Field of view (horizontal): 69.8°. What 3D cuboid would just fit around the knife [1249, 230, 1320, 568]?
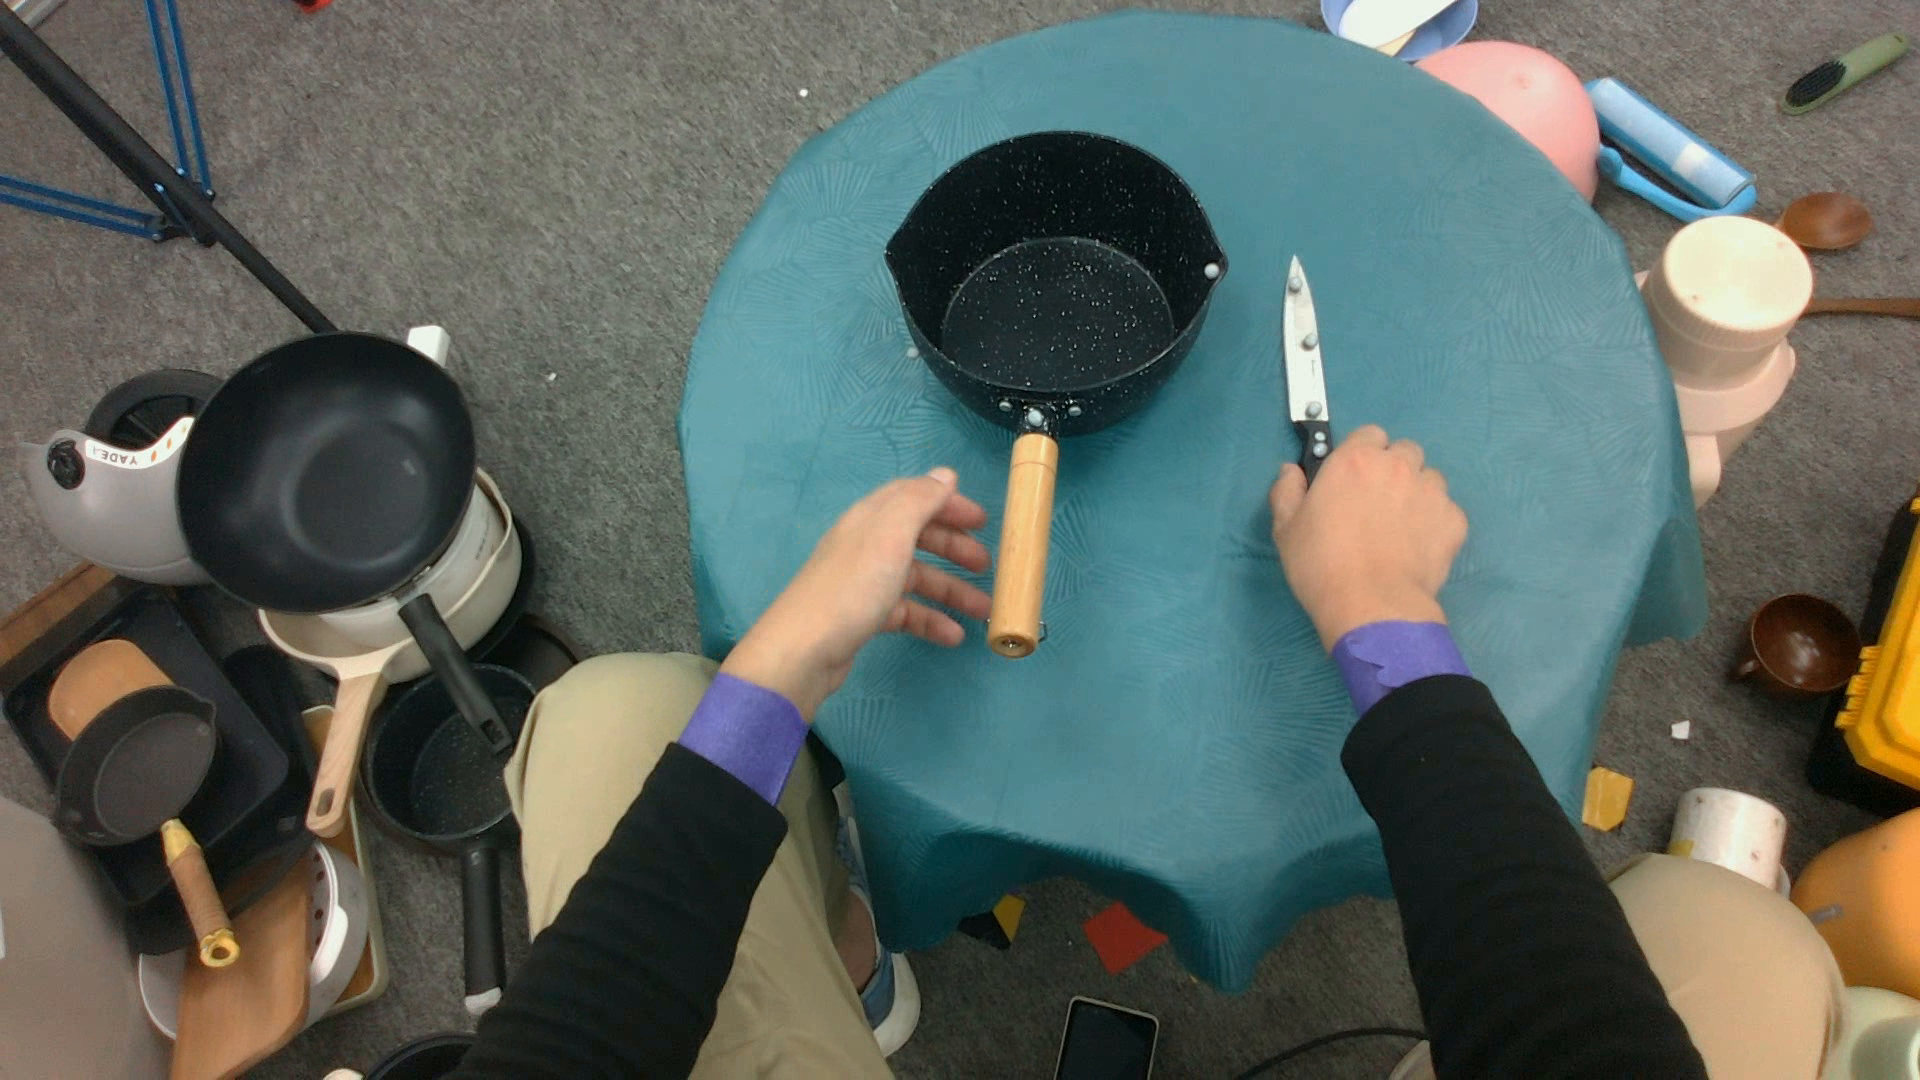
[{"bbox_3d":[0.193,-0.092,0.825,0.024,0.016,0.239,0,63,0],"label":"knife"}]

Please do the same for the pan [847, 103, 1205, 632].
[{"bbox_3d":[0.033,-0.094,0.788,0.207,0.108,0.344,3,65,5],"label":"pan"}]
